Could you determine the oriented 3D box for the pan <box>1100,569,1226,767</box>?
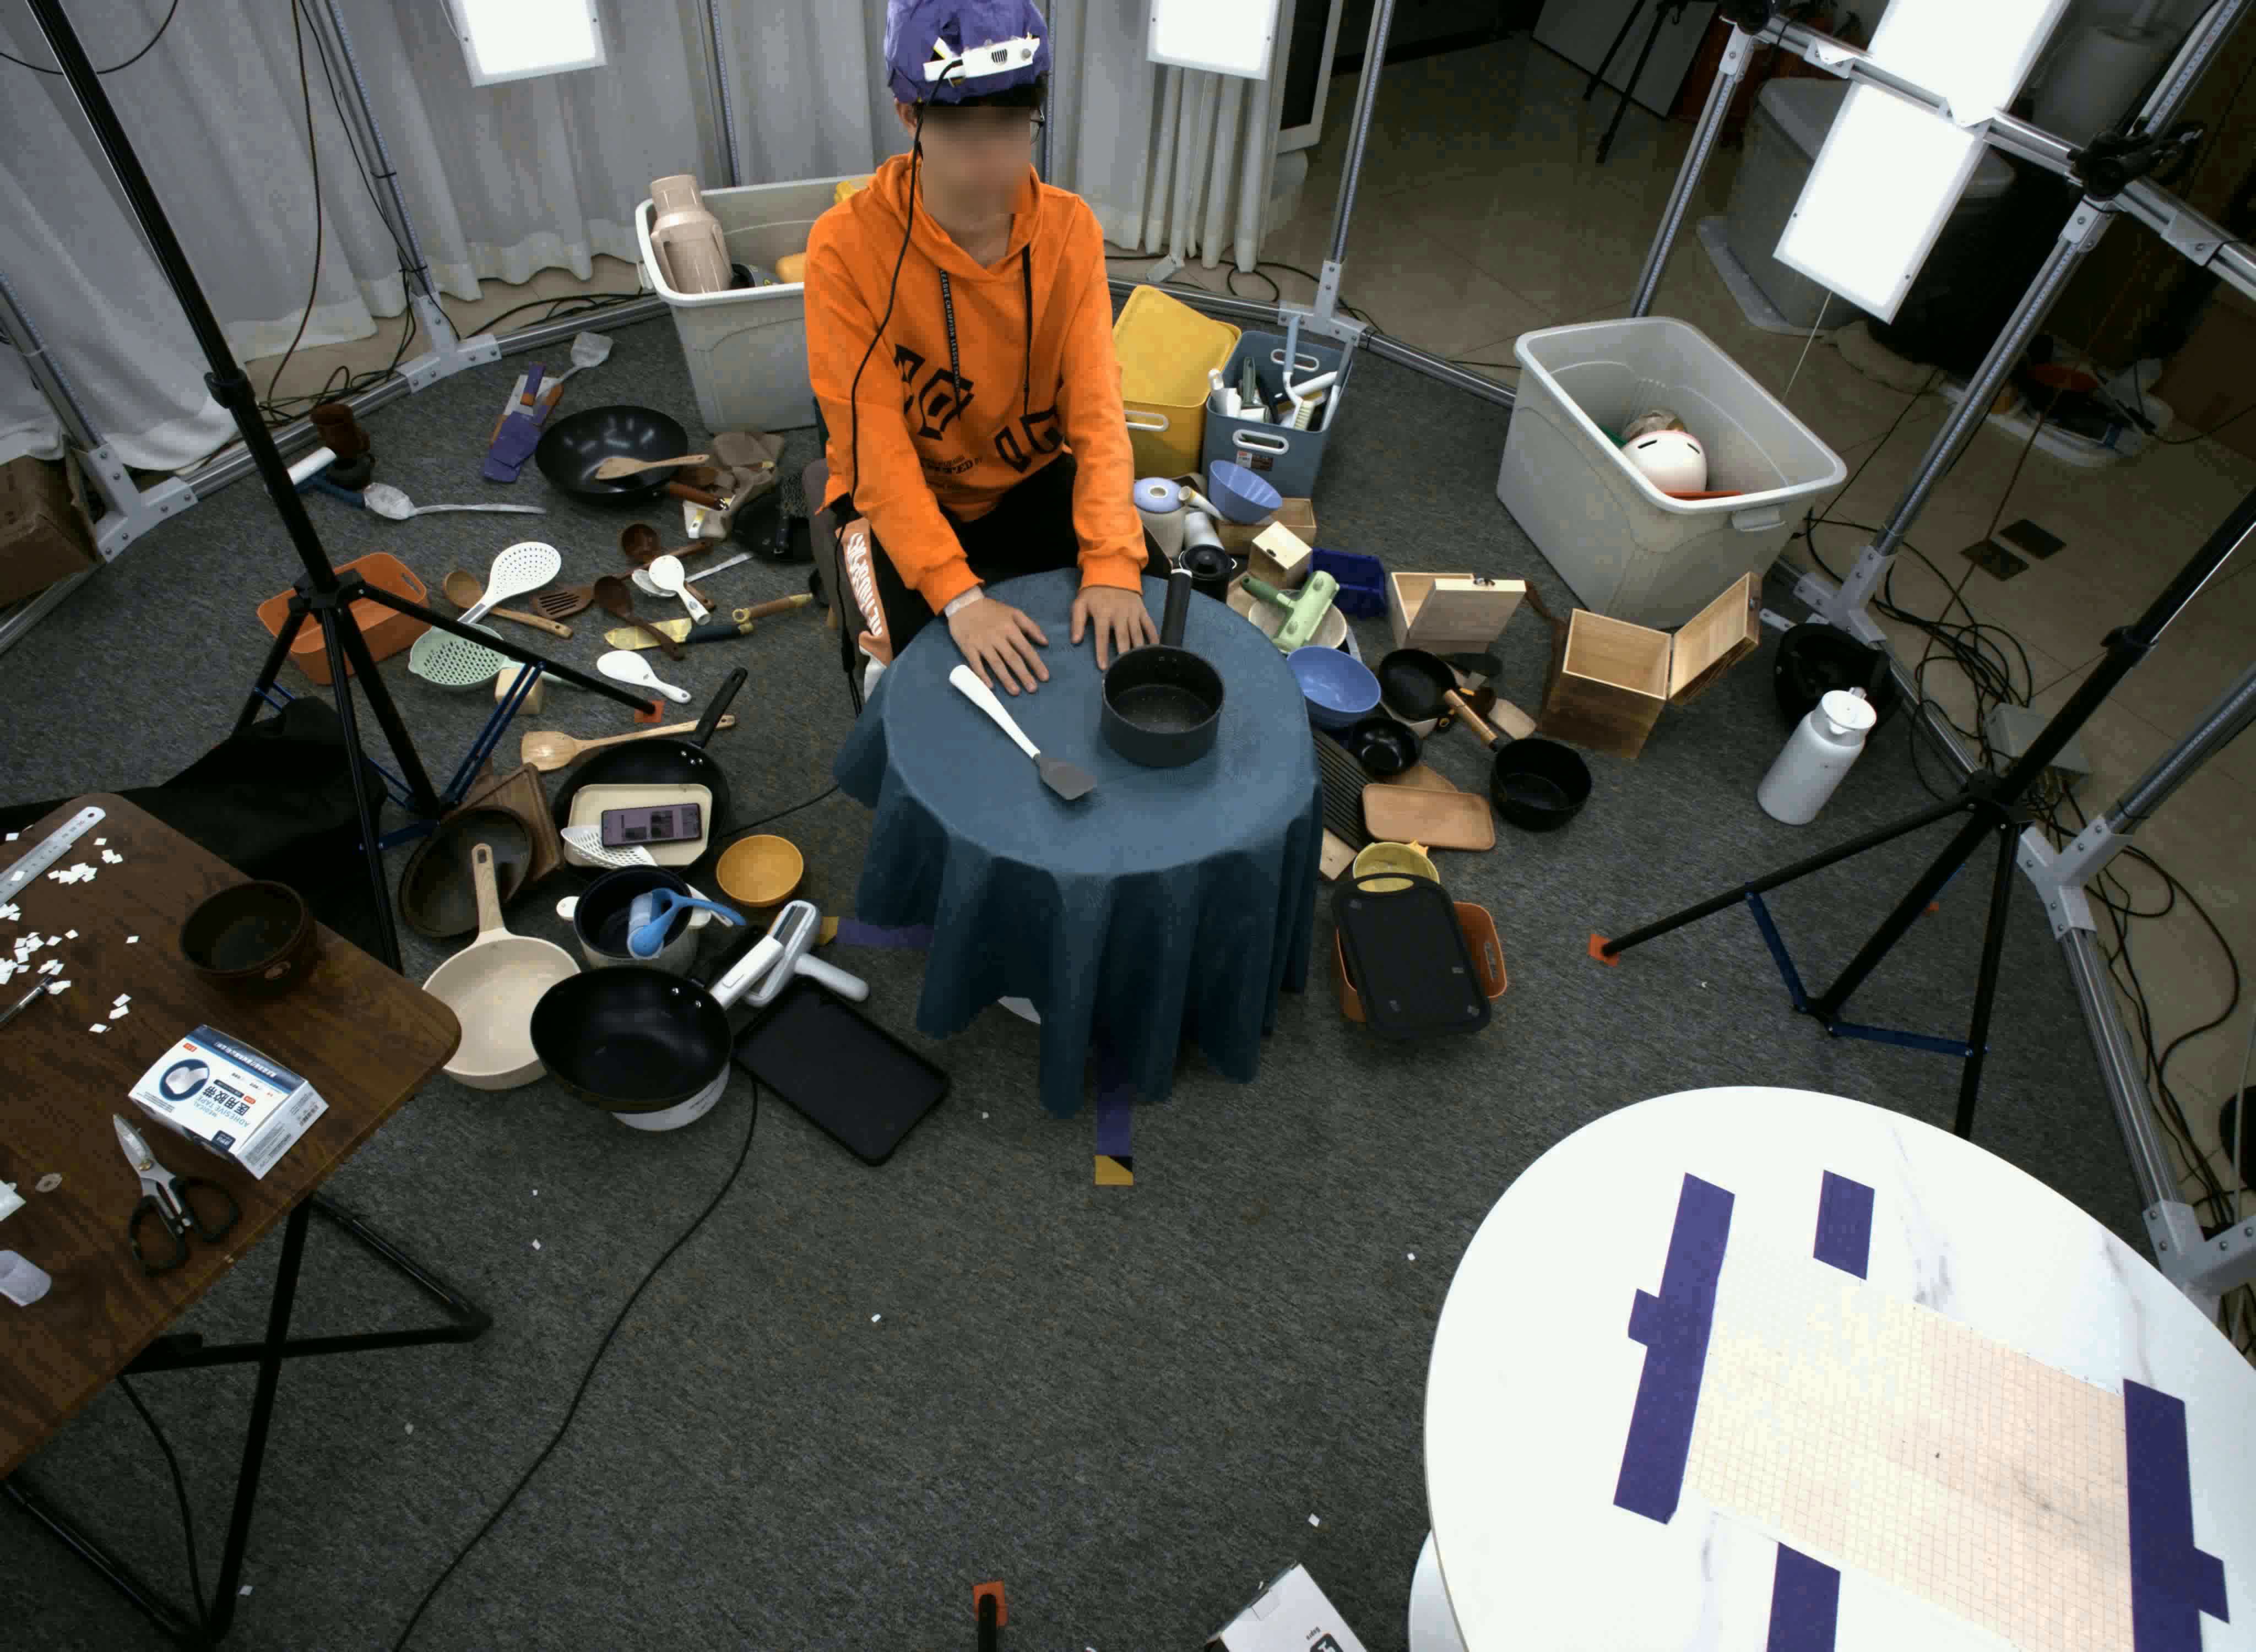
[{"bbox_3d":[0.059,-0.227,1.815,0.172,0.084,0.336,10,51,4],"label":"pan"}]

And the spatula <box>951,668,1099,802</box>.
[{"bbox_3d":[-0.146,-0.124,1.746,0.059,0.031,0.293,-27,55,-29],"label":"spatula"}]
